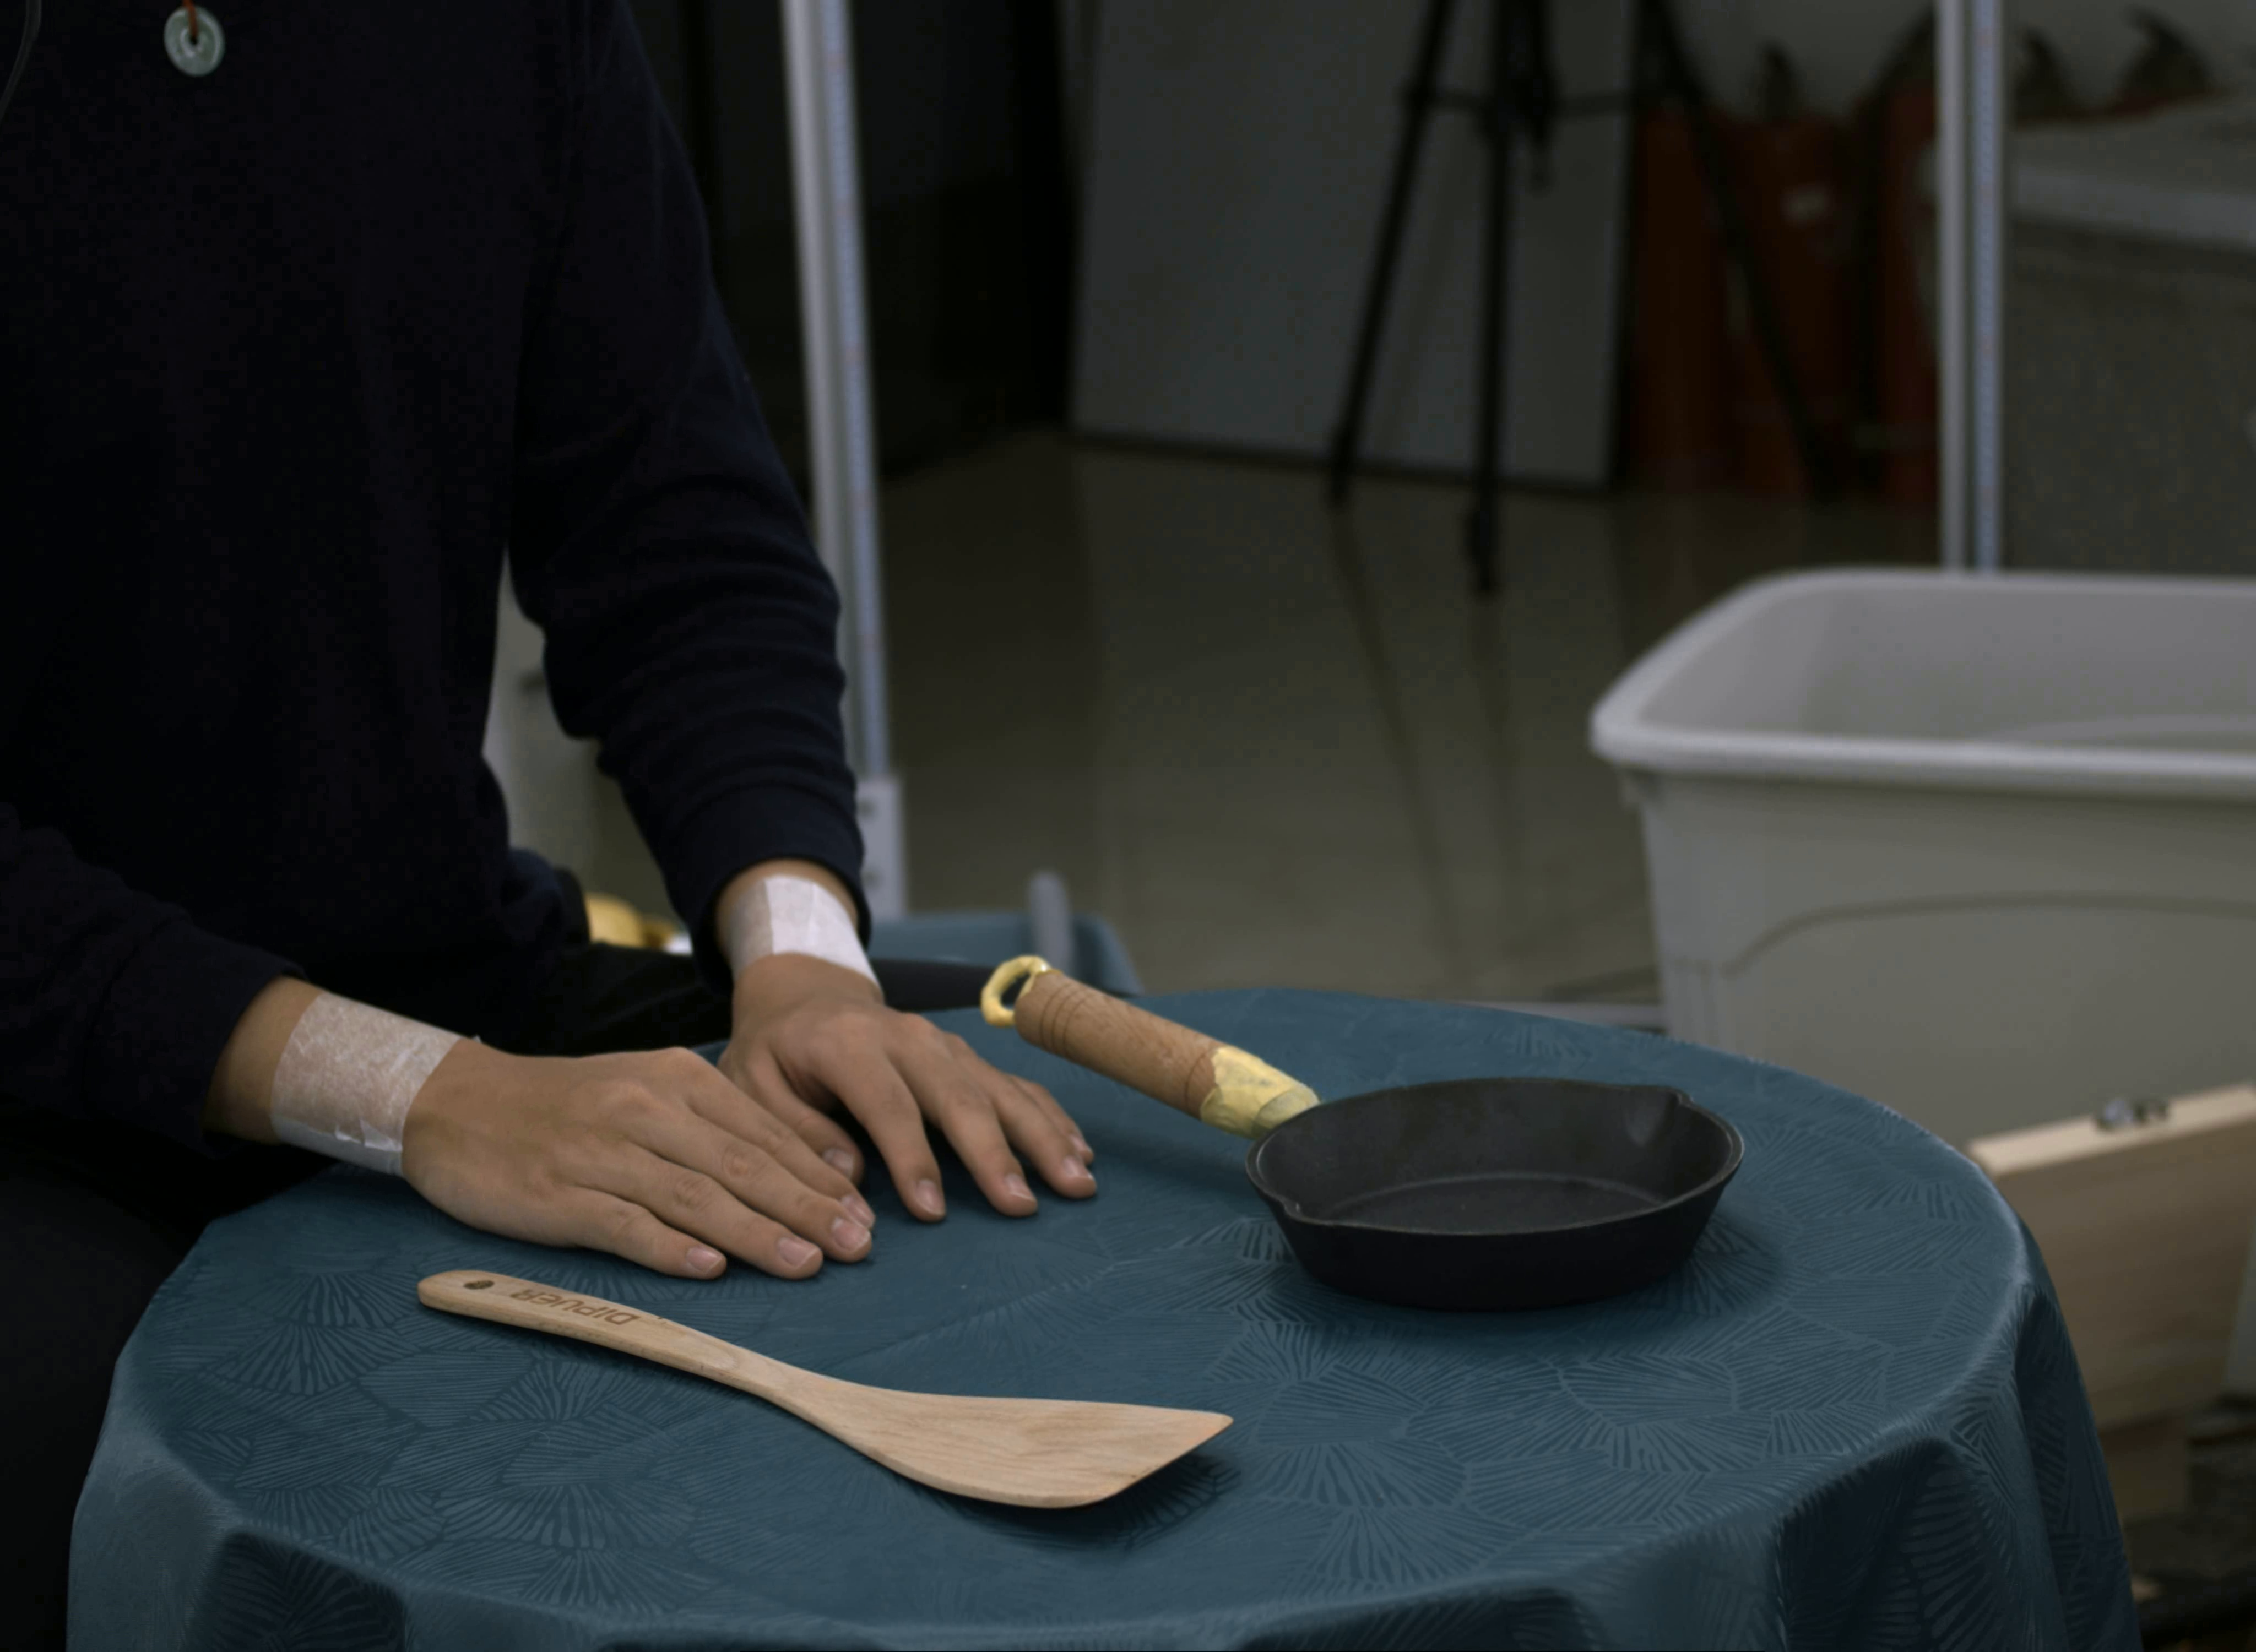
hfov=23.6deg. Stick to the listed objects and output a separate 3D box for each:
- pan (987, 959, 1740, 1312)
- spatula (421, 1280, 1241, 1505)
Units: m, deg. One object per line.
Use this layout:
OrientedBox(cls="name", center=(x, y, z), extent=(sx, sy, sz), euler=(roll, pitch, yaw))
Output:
OrientedBox(cls="pan", center=(0.061, 0.096, 1.750), extent=(0.165, 0.050, 0.327), euler=(-15, 18, -37))
OrientedBox(cls="spatula", center=(-0.100, 0.162, 1.600), extent=(0.330, 0.017, 0.078), euler=(9, 18, 43))
